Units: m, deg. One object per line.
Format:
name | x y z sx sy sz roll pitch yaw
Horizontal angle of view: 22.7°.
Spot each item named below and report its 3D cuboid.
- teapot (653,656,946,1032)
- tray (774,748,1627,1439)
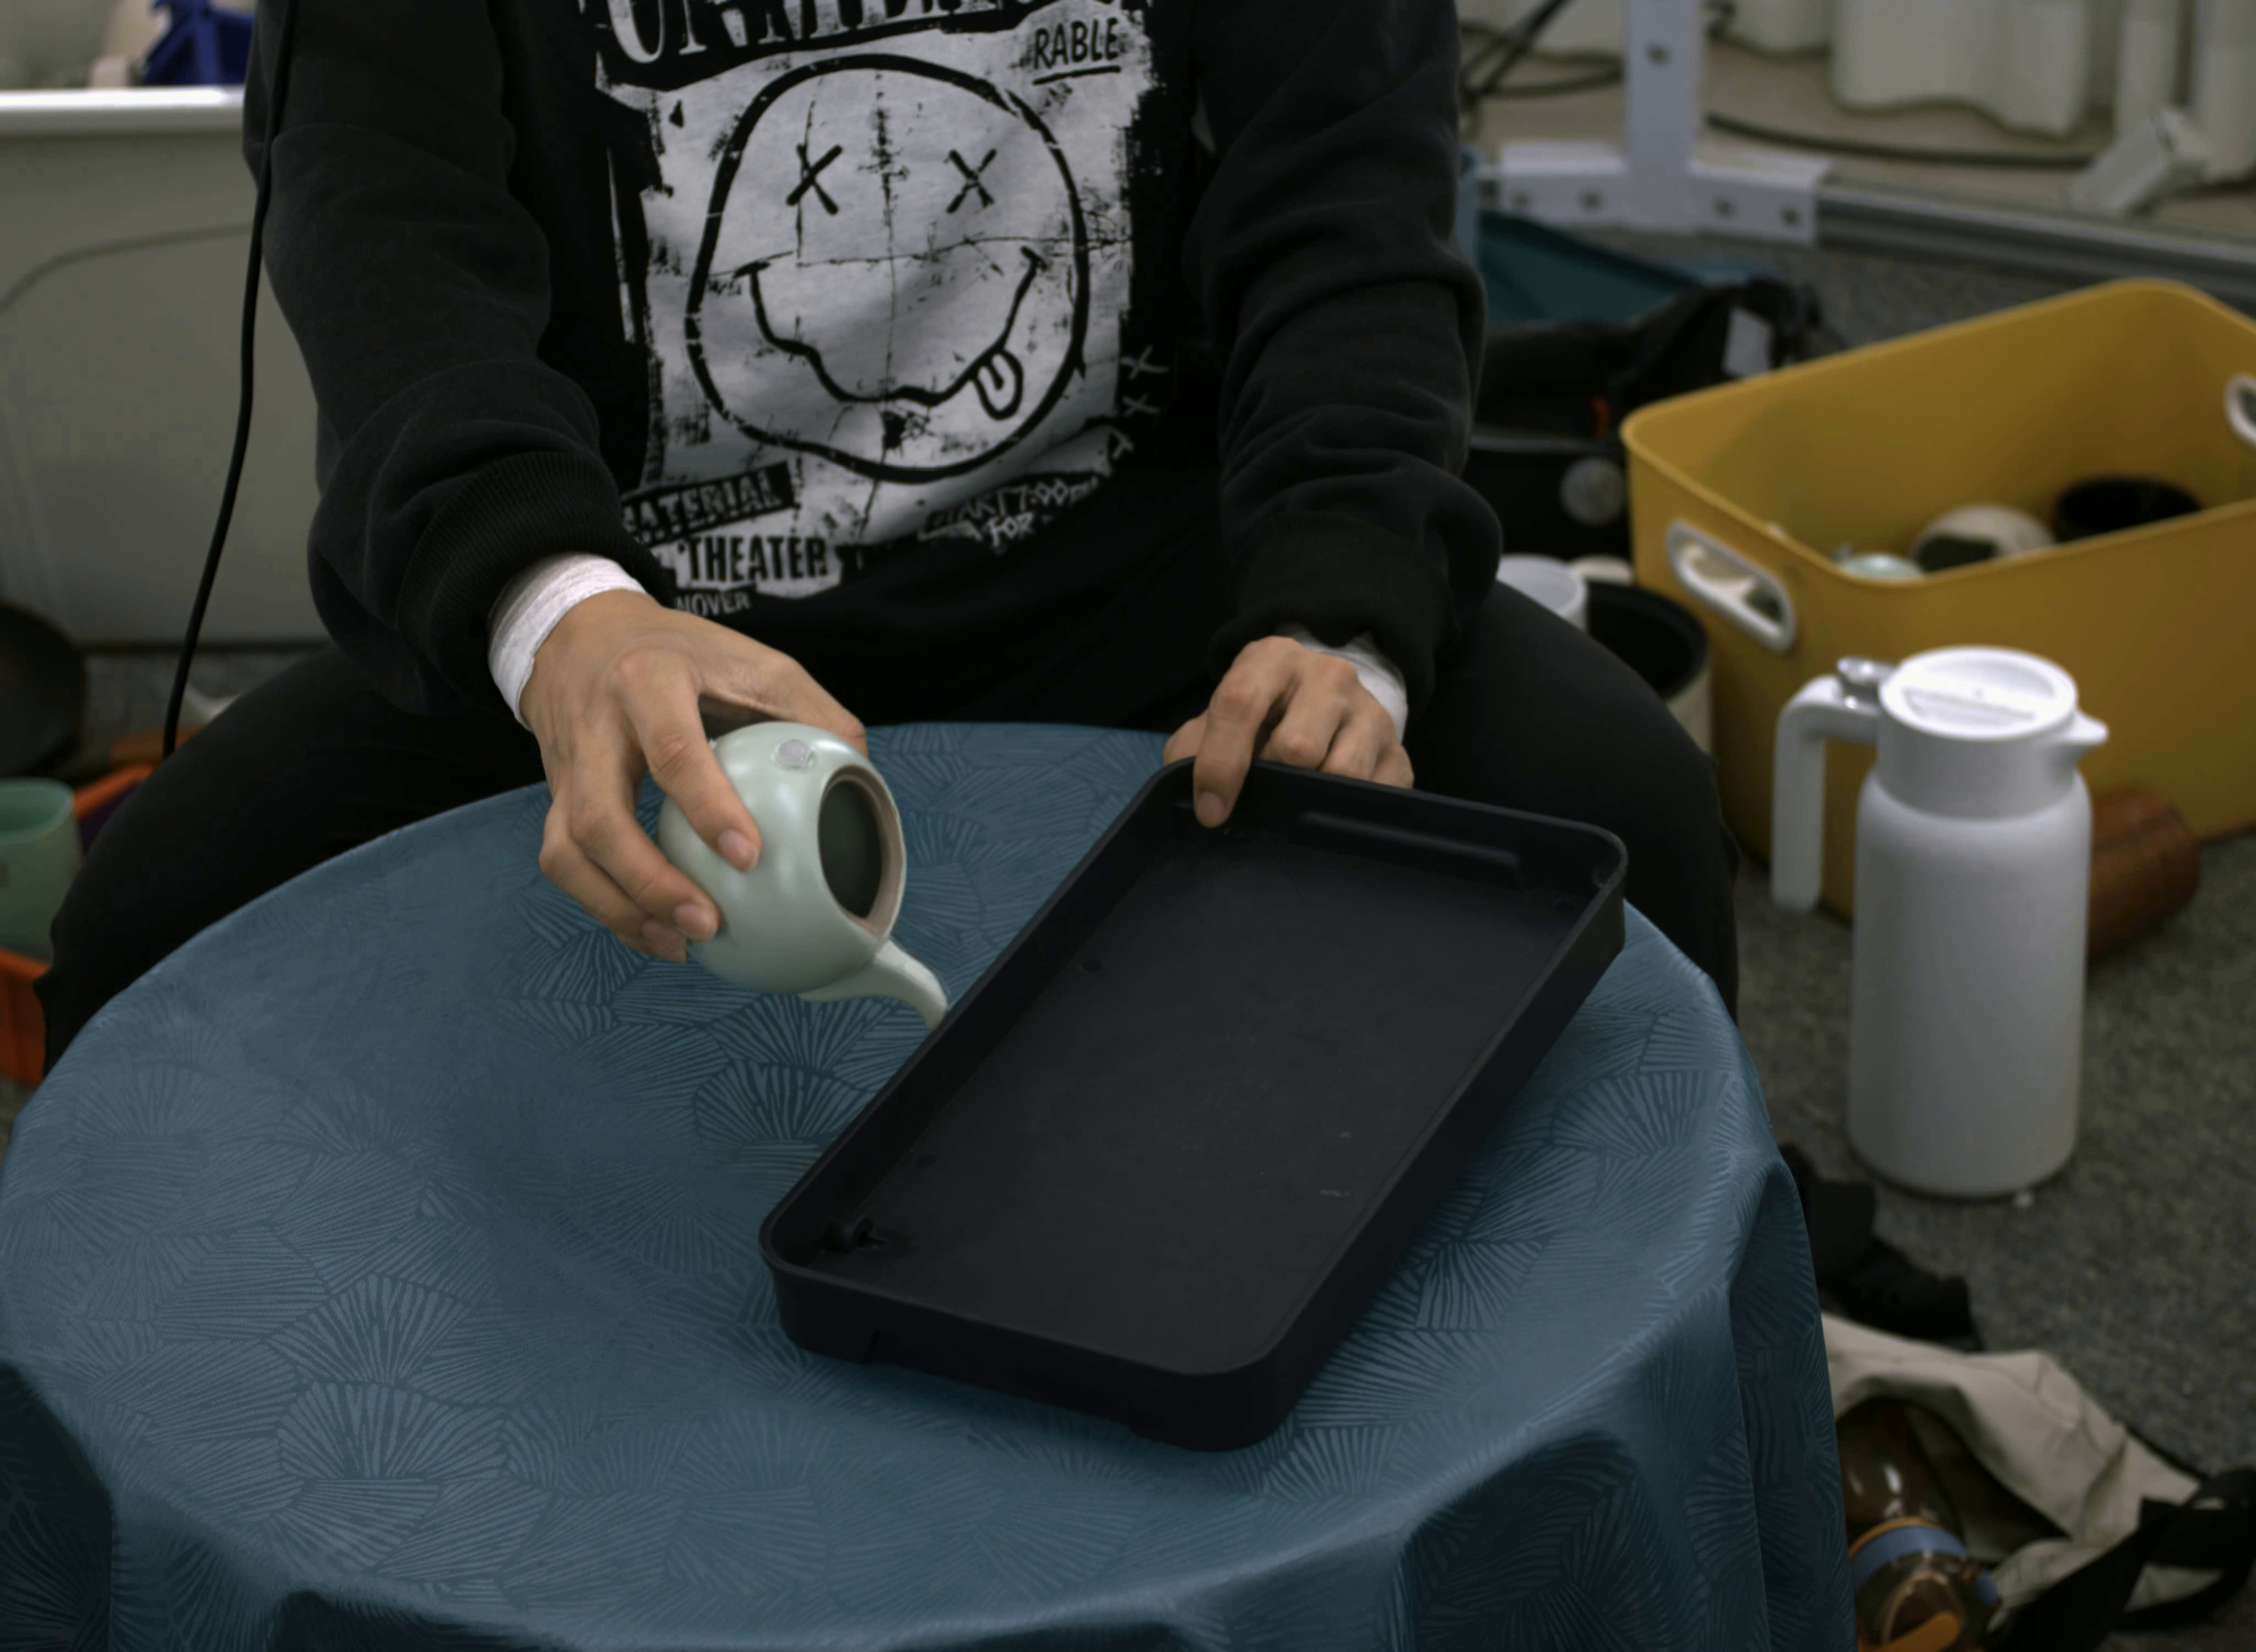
teapot | -0.111 0.009 1.809 0.074 0.142 0.090 -6 28 26
tray | 0.031 0.081 1.862 0.183 0.036 0.324 10 36 24
